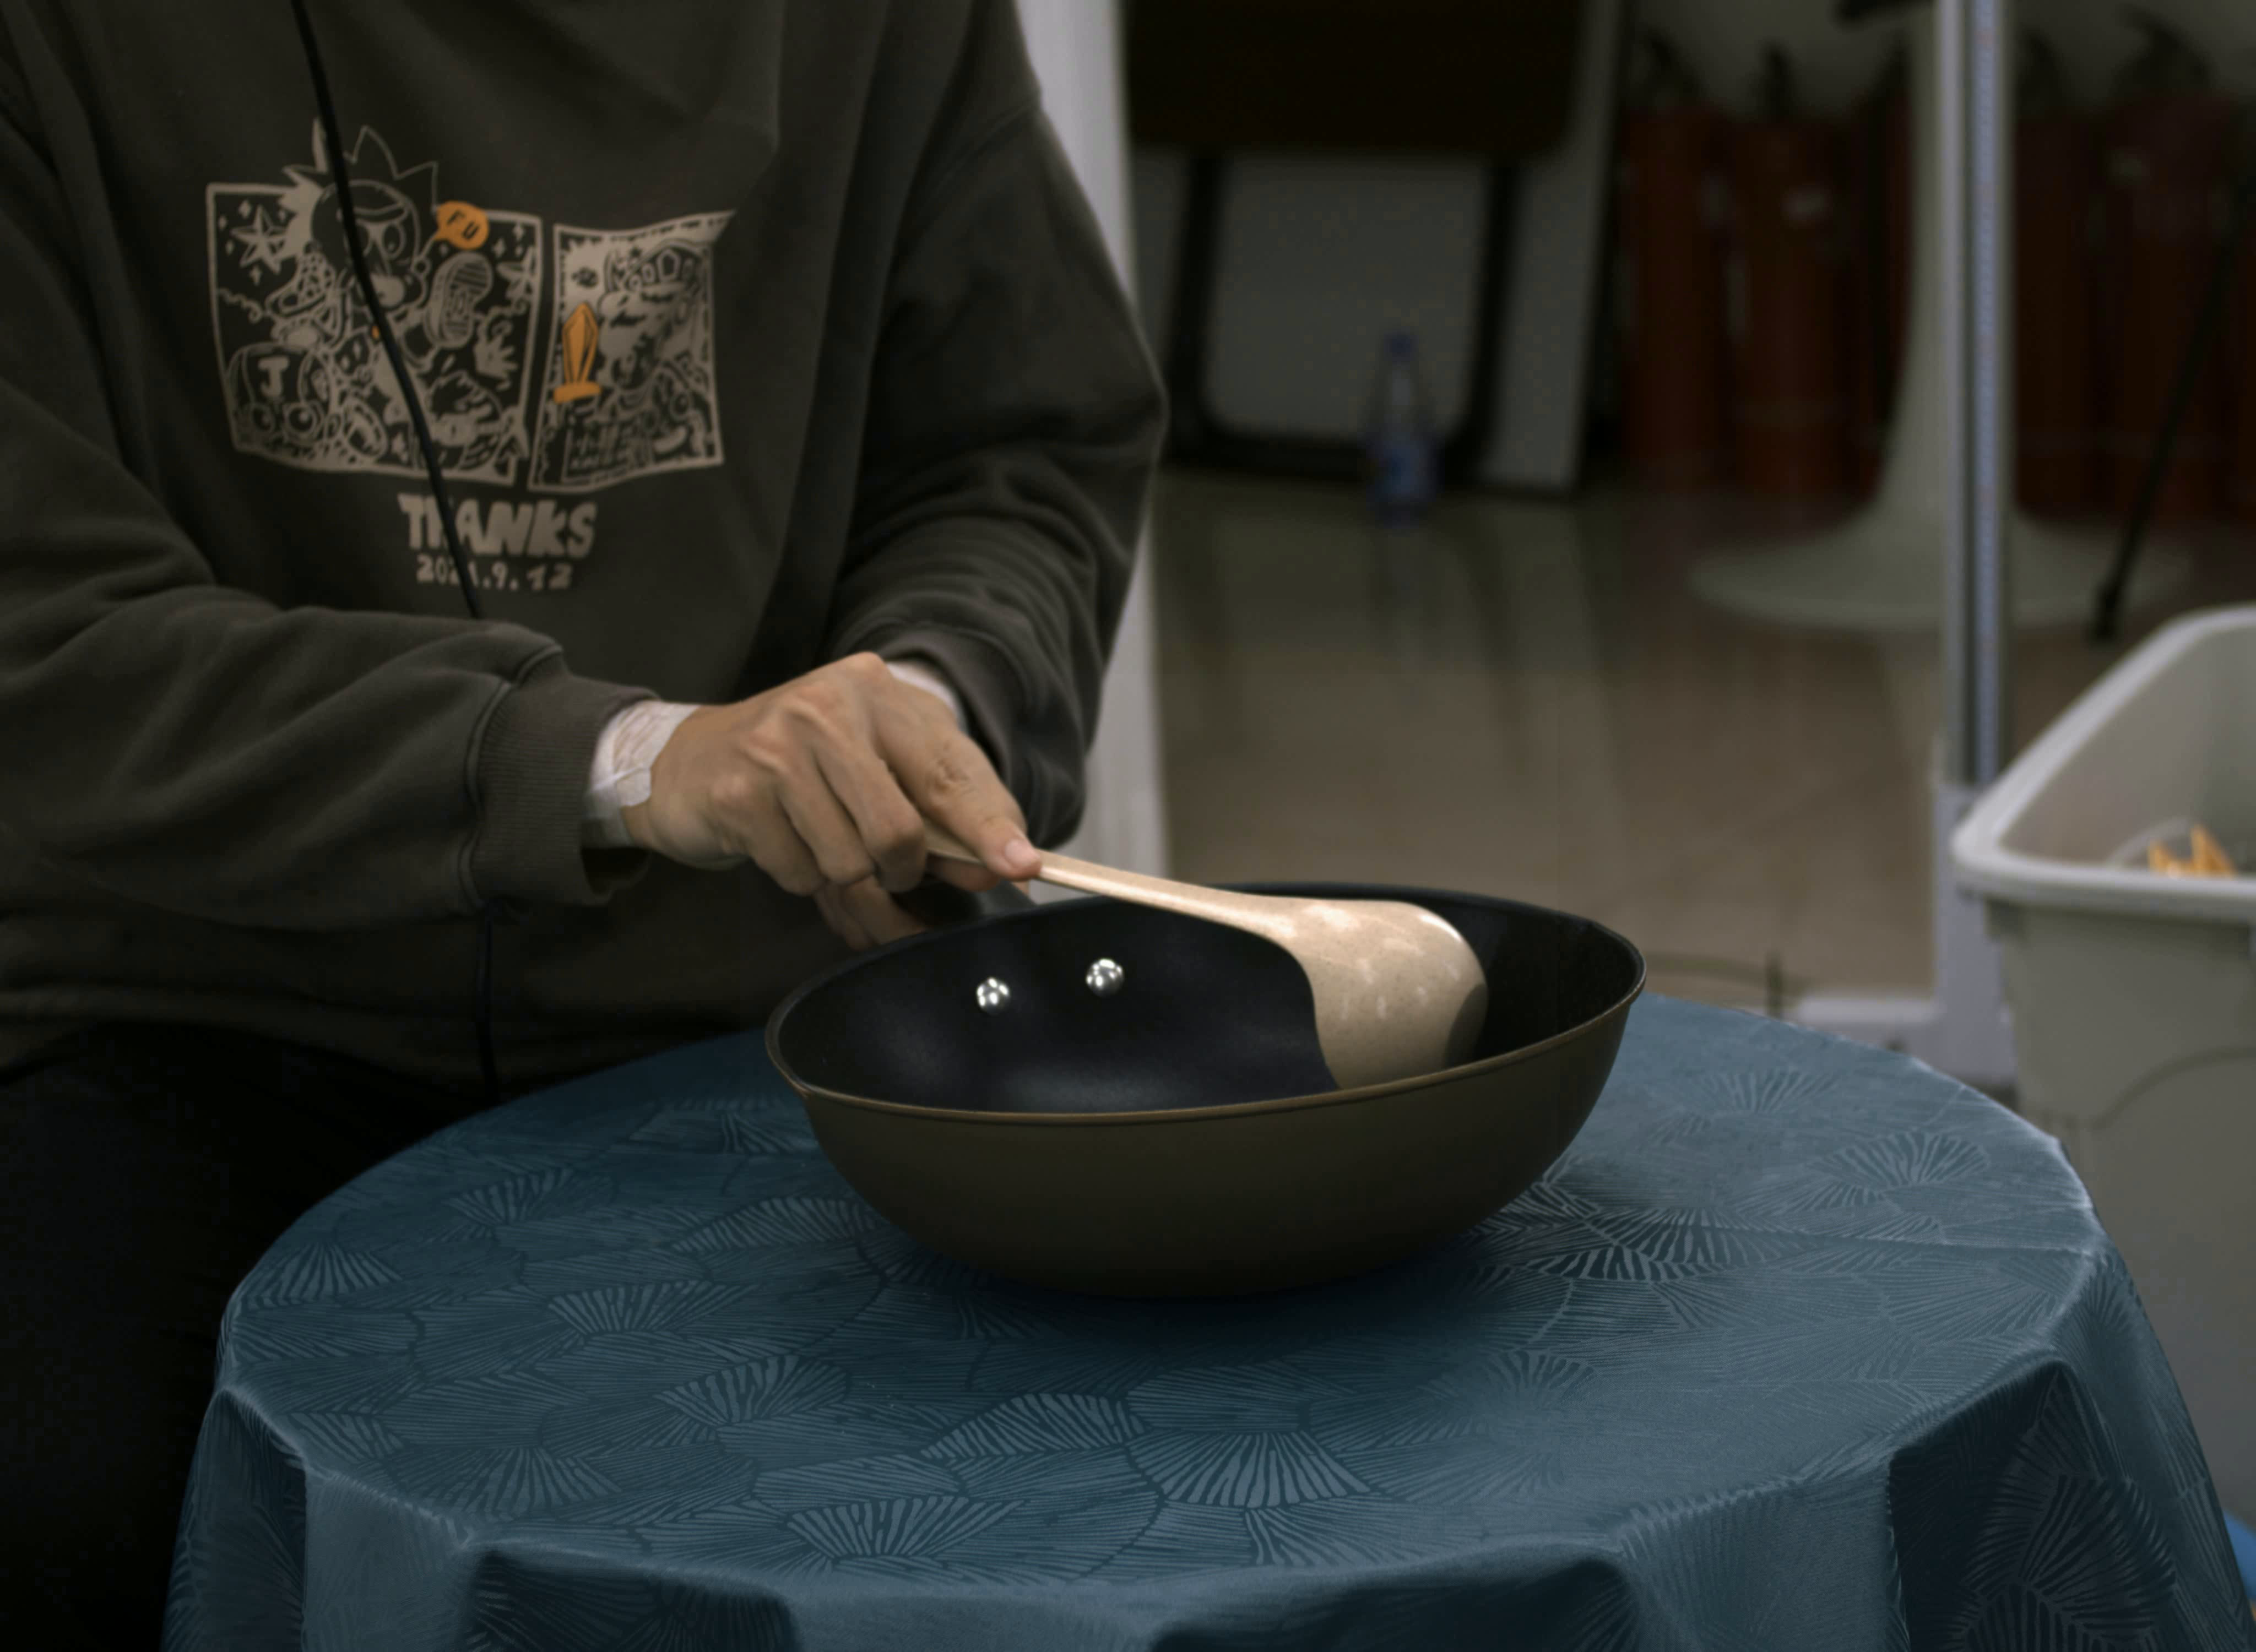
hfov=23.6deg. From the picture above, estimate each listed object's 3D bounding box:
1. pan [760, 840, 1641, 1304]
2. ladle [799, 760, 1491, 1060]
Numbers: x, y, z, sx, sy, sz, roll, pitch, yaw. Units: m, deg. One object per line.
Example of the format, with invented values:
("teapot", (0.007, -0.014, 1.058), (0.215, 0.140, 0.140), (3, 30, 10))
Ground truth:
("pan", (-0.012, 0.077, 1.794), (0.282, 0.088, 0.468), (-10, 12, -22))
("ladle", (0.003, 0.038, 1.810), (0.255, 0.073, 0.072), (16, 52, 28))
